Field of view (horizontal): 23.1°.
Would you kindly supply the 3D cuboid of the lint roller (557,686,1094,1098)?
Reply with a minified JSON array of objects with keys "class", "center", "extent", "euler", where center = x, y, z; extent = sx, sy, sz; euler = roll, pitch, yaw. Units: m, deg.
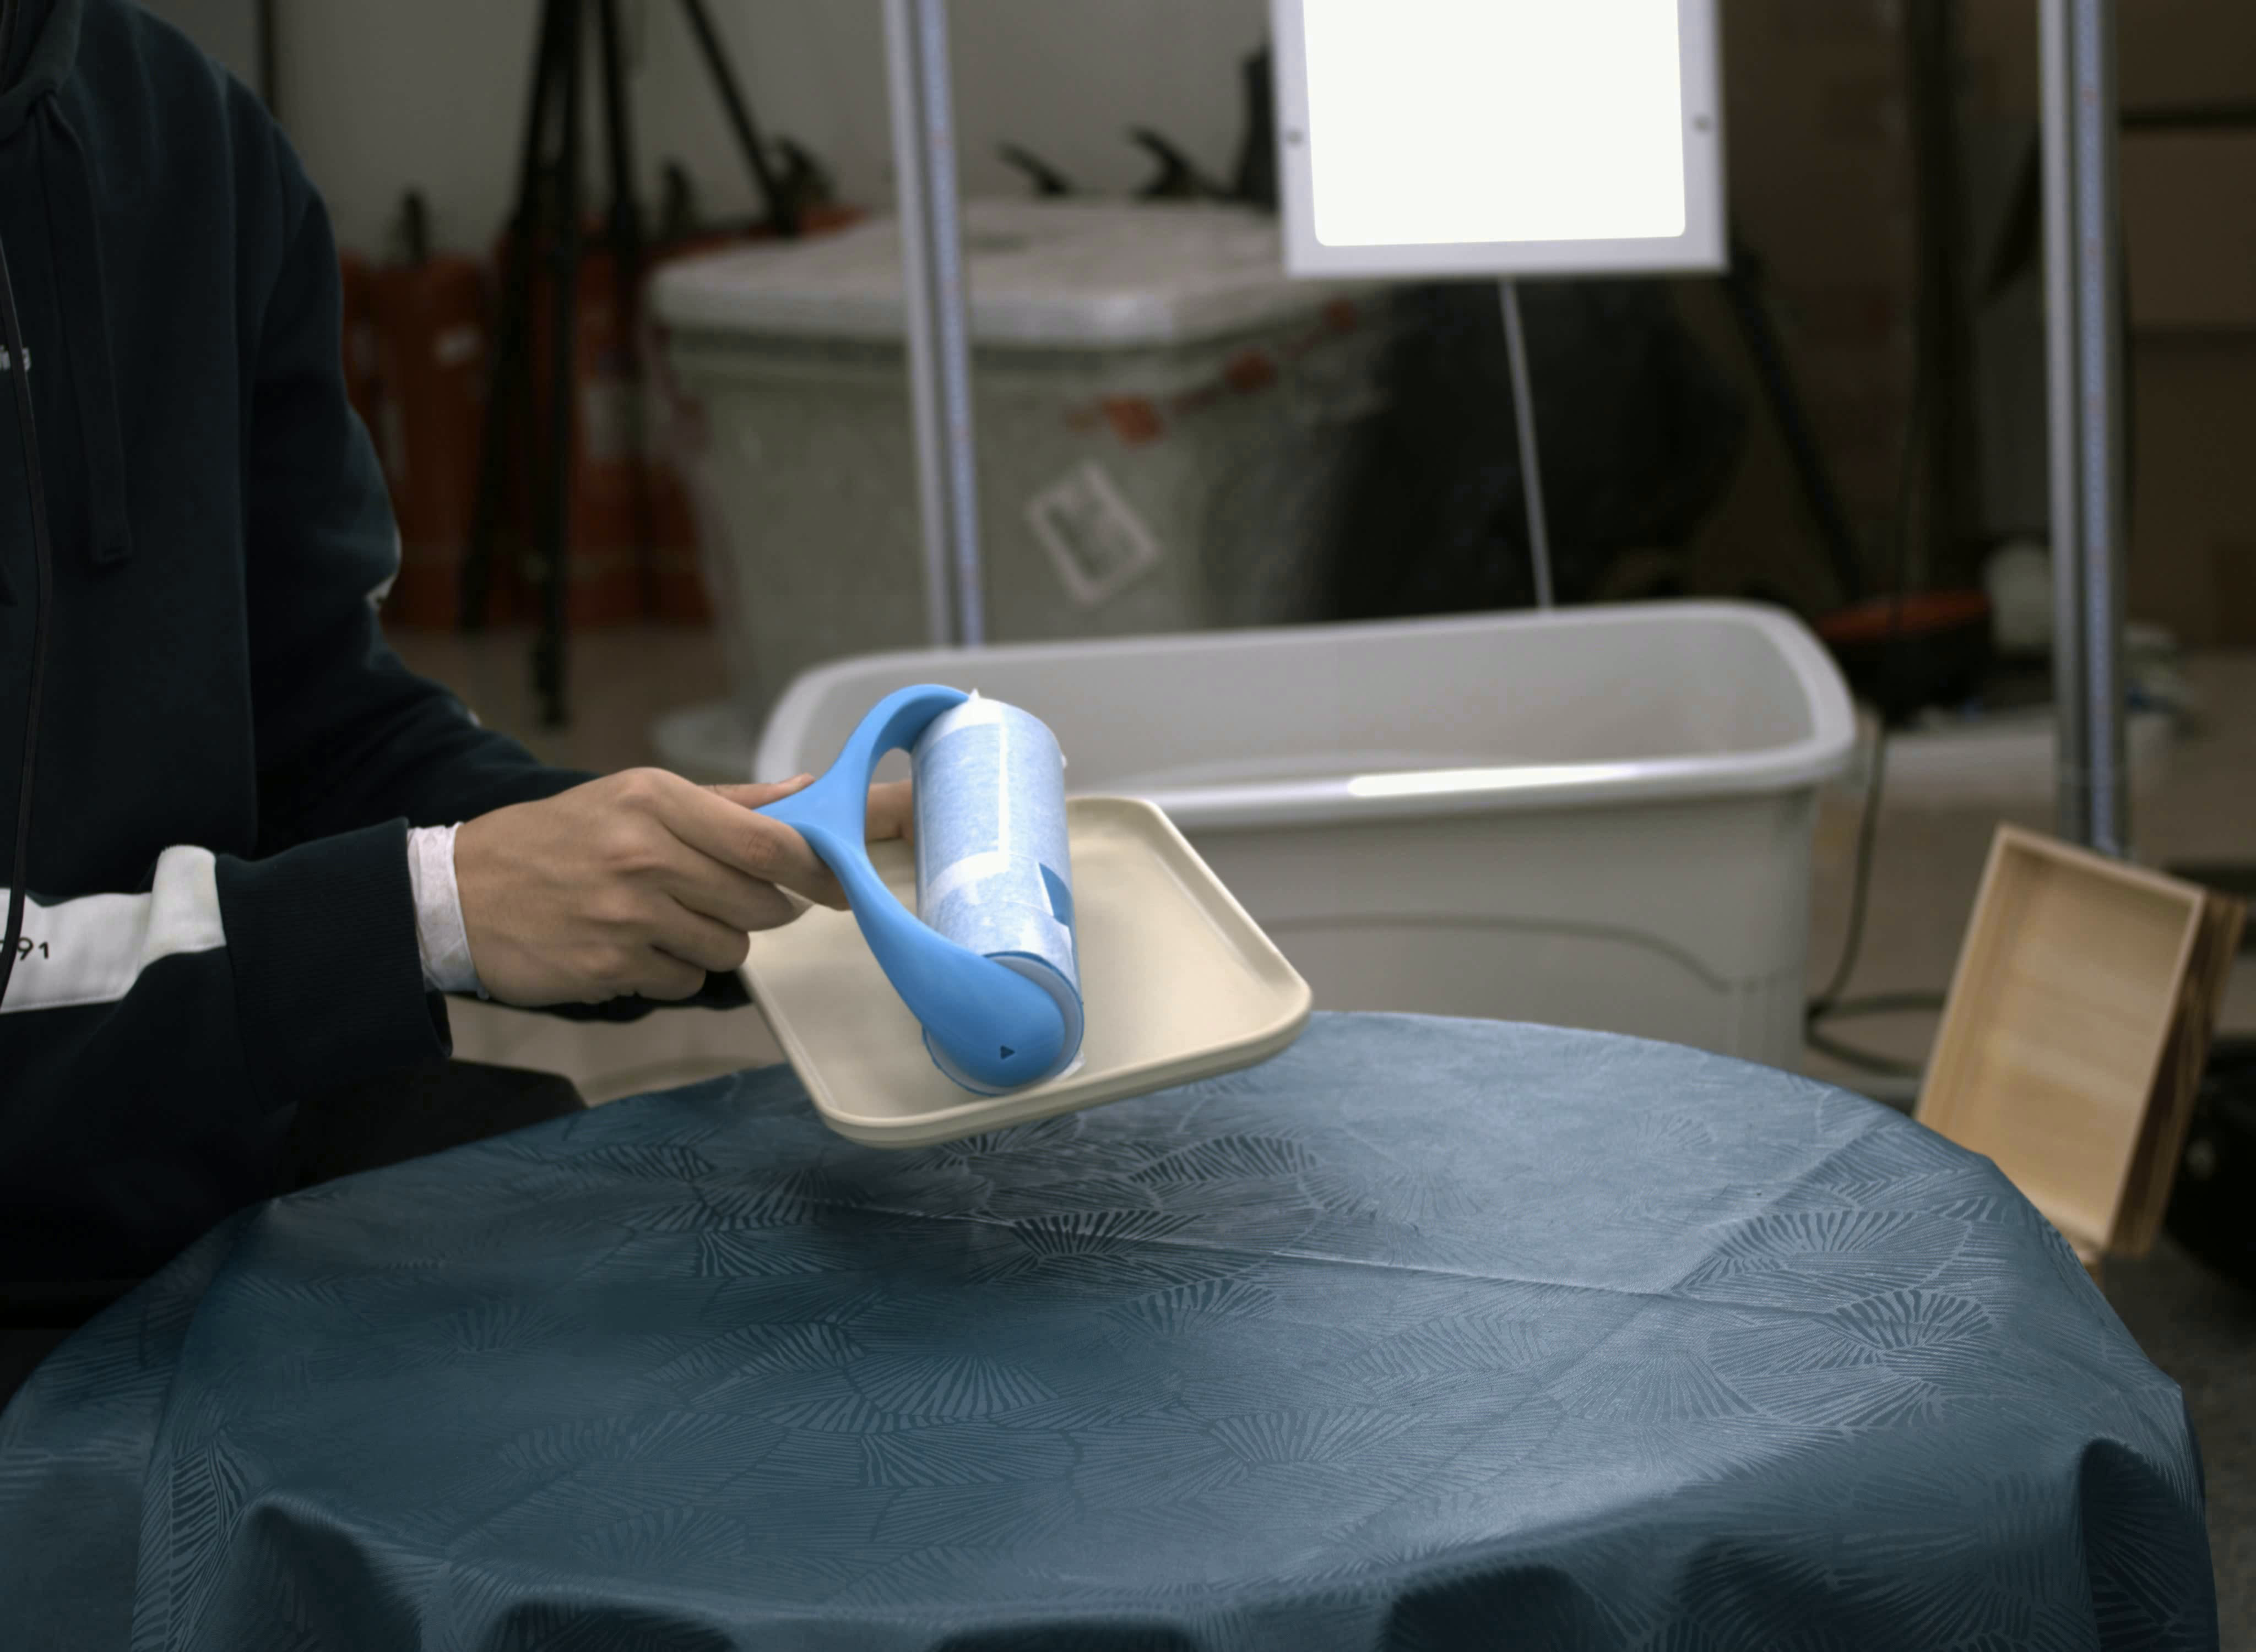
[{"class":"lint roller","center":[-0.103,0.023,1.856],"extent":[0.179,0.068,0.229],"euler":[-2,28,-4]}]

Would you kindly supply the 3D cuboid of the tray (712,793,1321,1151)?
[{"class":"tray","center":[-0.041,0.049,1.891],"extent":[0.169,0.017,0.241],"euler":[-14,23,-10]}]
